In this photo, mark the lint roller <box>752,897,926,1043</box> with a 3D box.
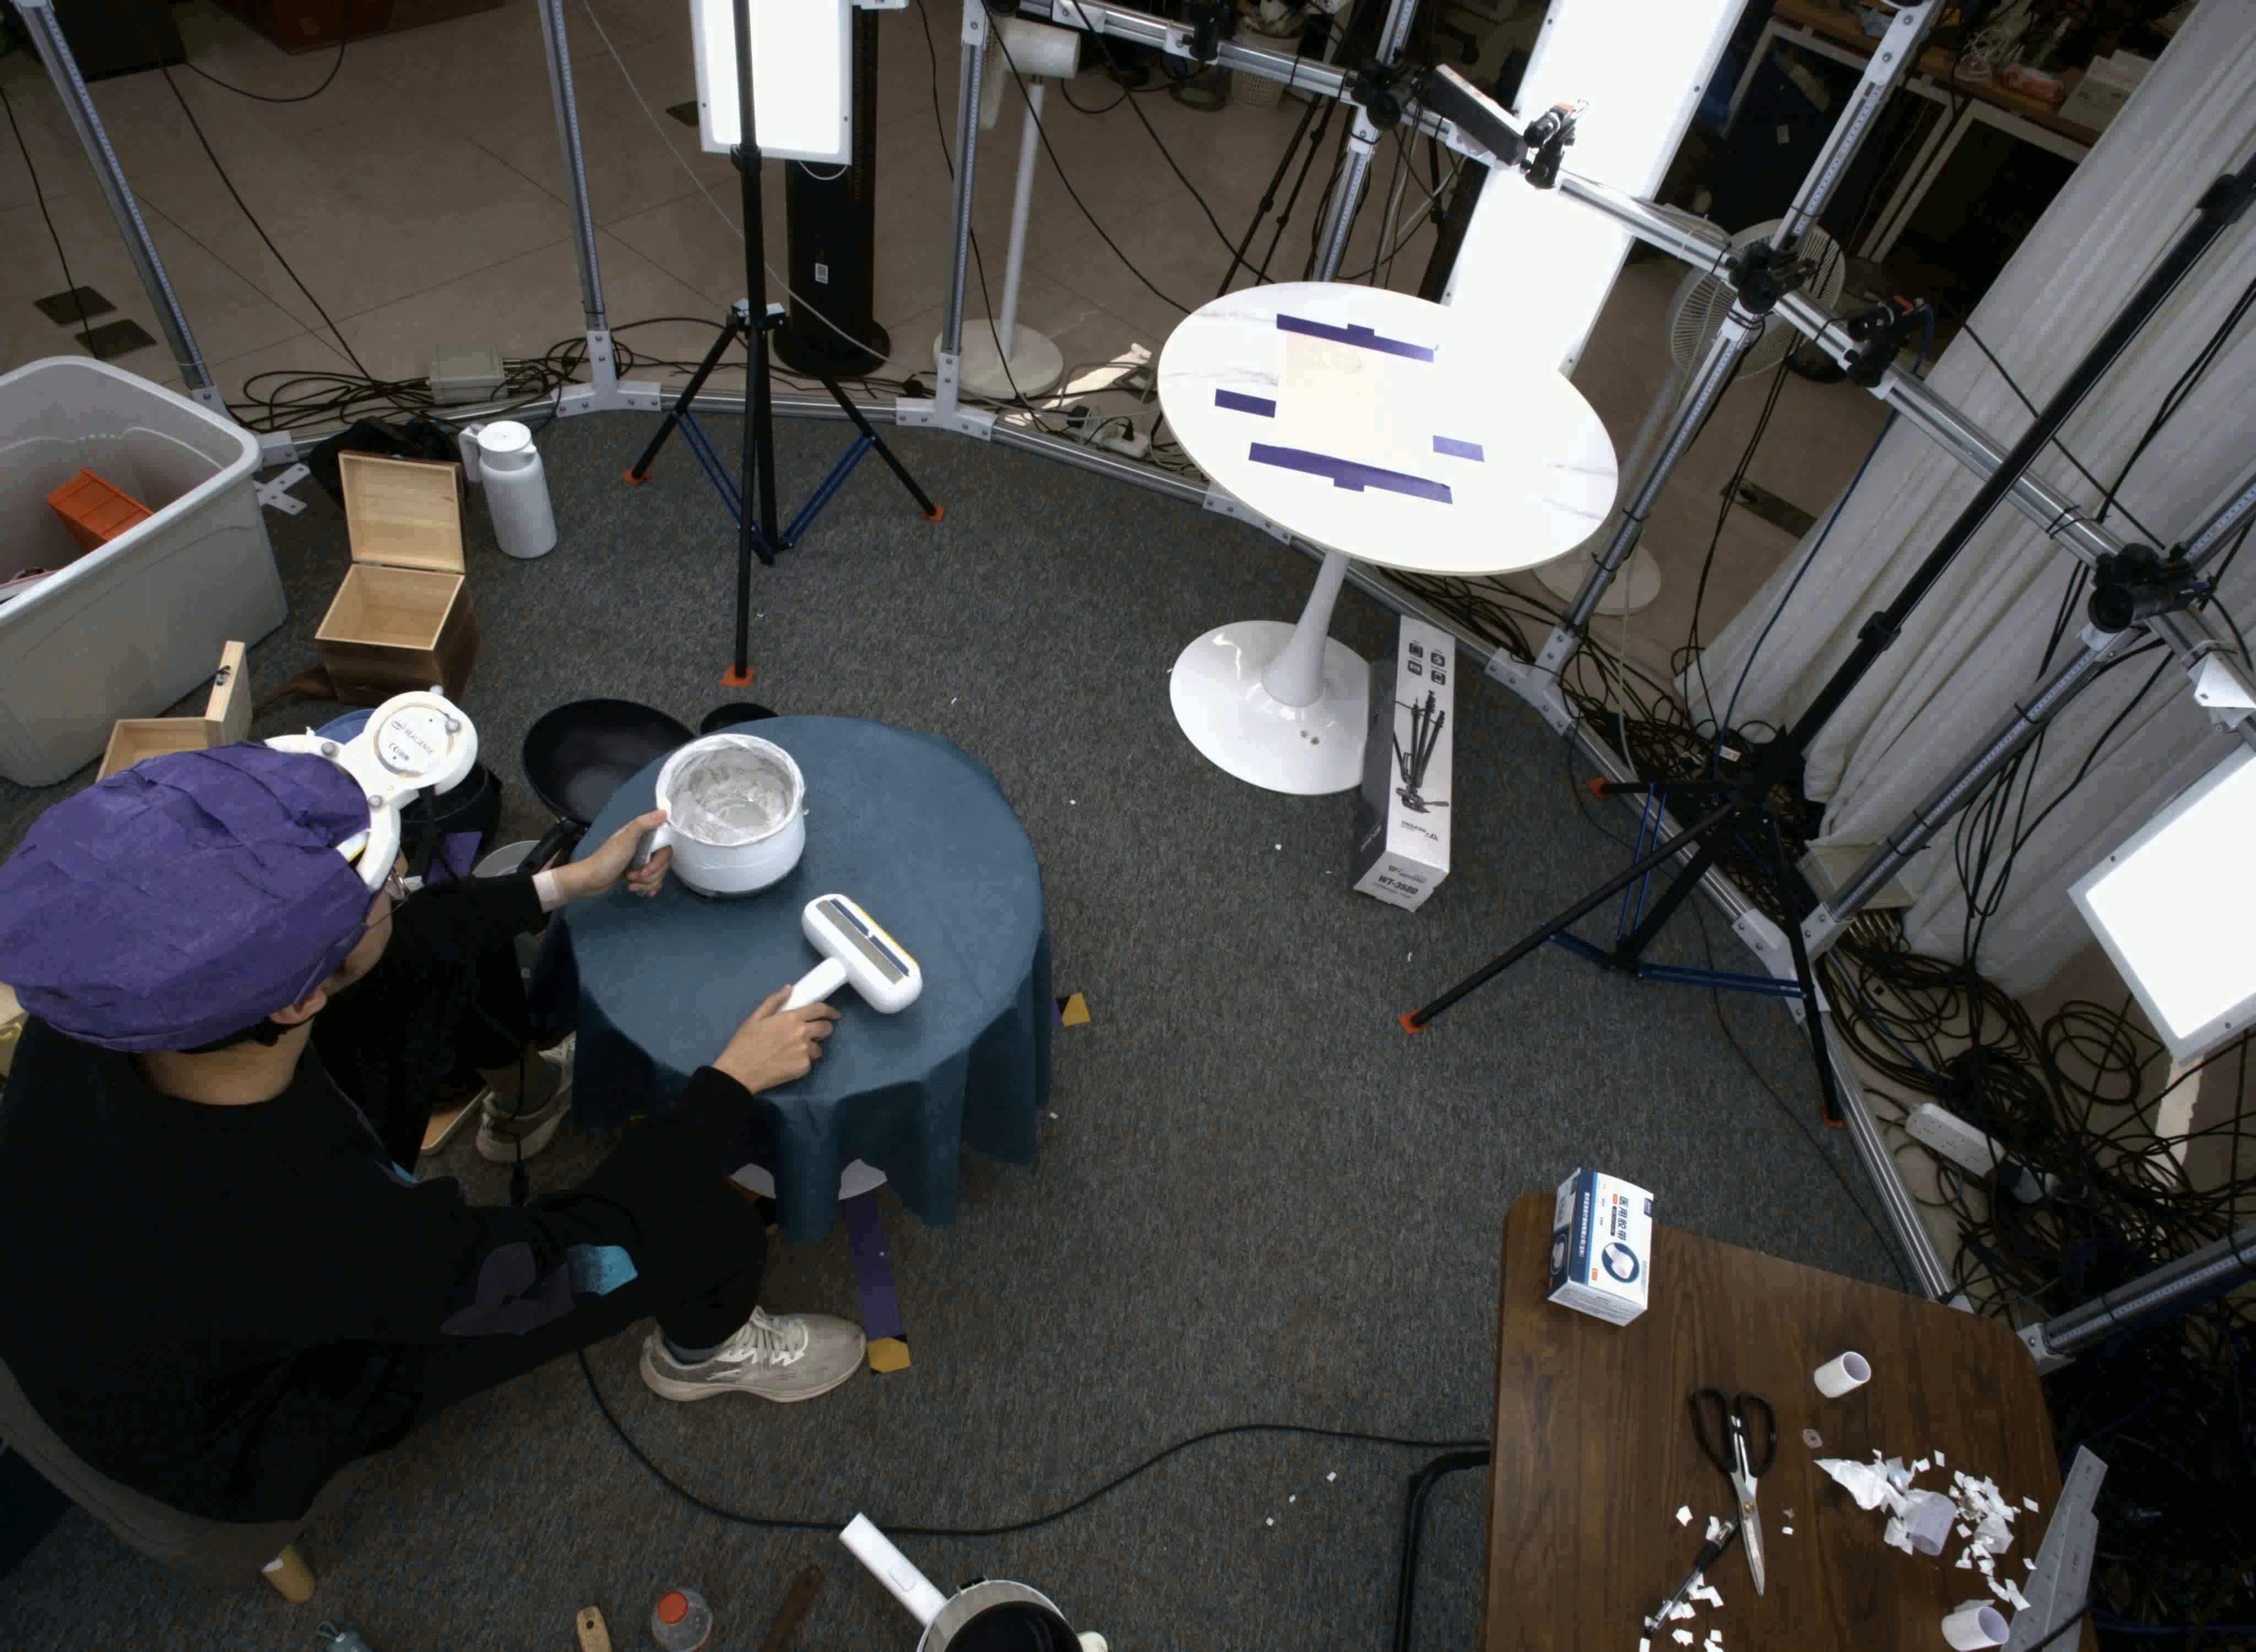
[{"bbox_3d":[-0.366,0.188,1.563,0.193,0.076,0.187,-30,61,-29],"label":"lint roller"}]

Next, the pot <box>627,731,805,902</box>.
[{"bbox_3d":[-0.519,0.000,1.614,0.235,0.139,0.174,-29,63,-32],"label":"pot"}]
